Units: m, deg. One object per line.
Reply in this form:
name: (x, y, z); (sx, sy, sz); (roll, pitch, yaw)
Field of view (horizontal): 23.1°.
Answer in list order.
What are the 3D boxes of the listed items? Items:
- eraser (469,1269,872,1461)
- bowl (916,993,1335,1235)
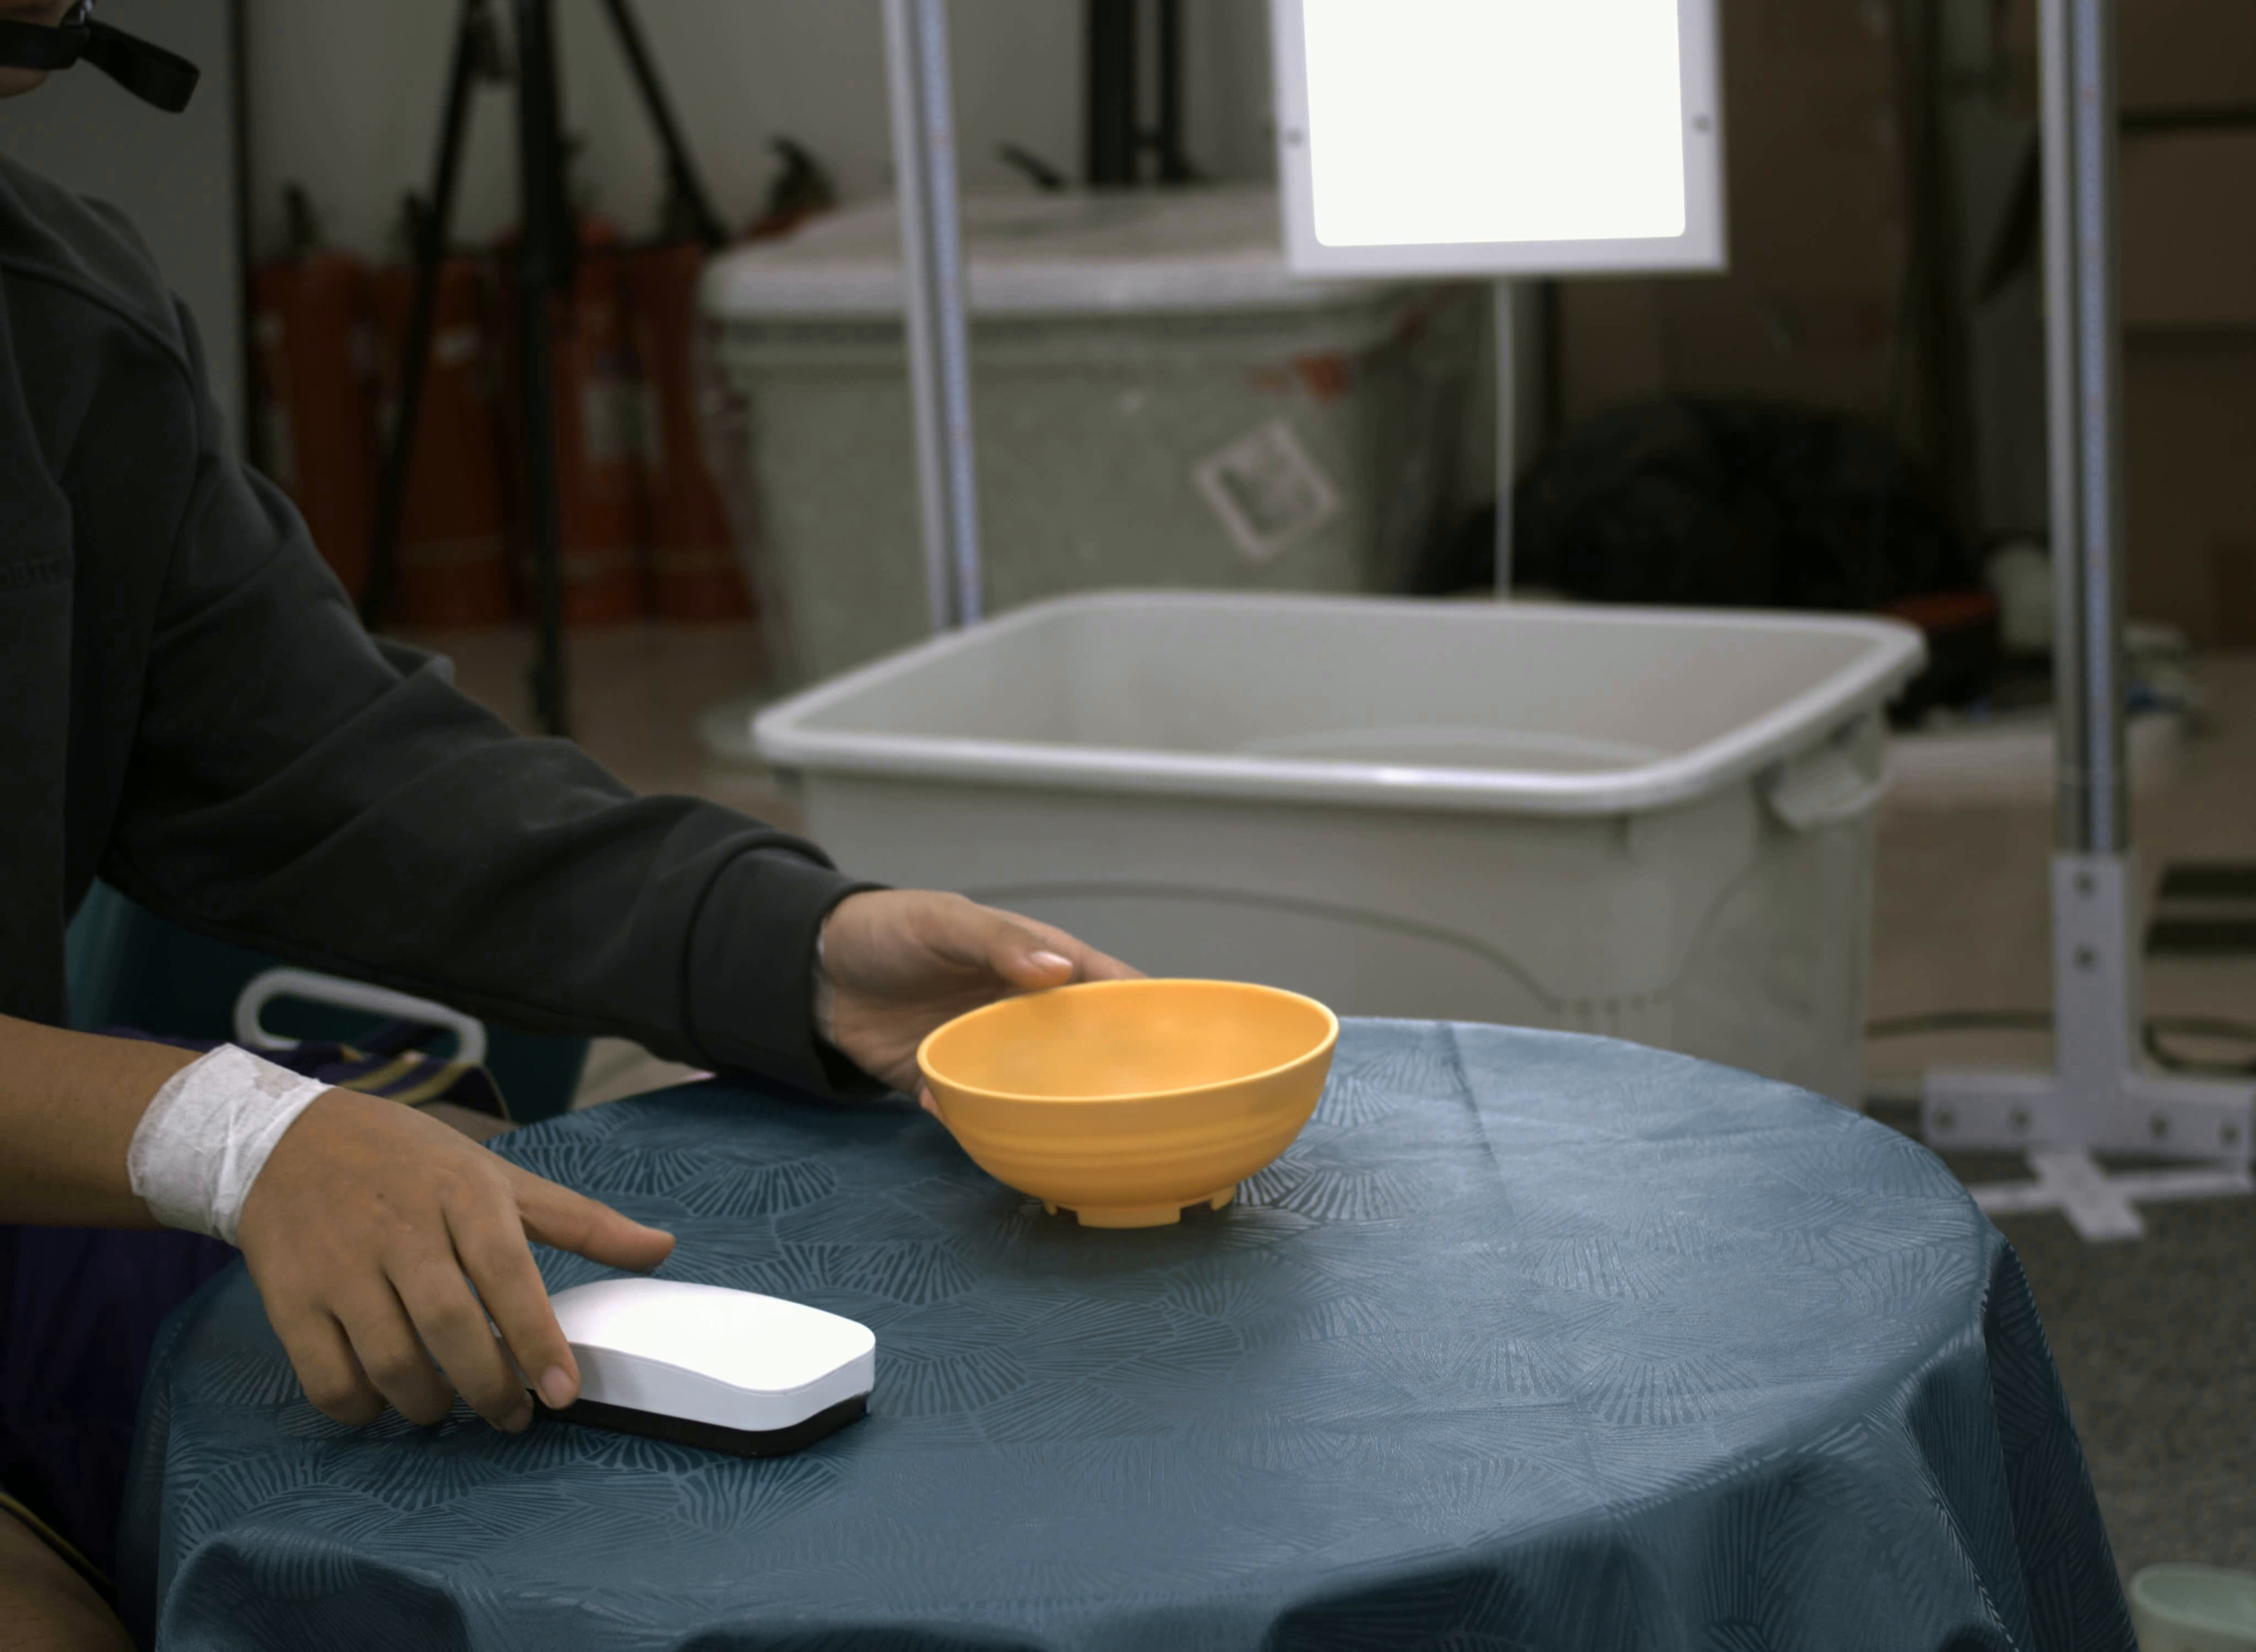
eraser: (-0.142, 0.166, 1.721); (0.134, 0.034, 0.062); (7, 18, 38)
bowl: (0.002, 0.102, 1.882); (0.145, 0.060, 0.145); (-6, 12, 0)
